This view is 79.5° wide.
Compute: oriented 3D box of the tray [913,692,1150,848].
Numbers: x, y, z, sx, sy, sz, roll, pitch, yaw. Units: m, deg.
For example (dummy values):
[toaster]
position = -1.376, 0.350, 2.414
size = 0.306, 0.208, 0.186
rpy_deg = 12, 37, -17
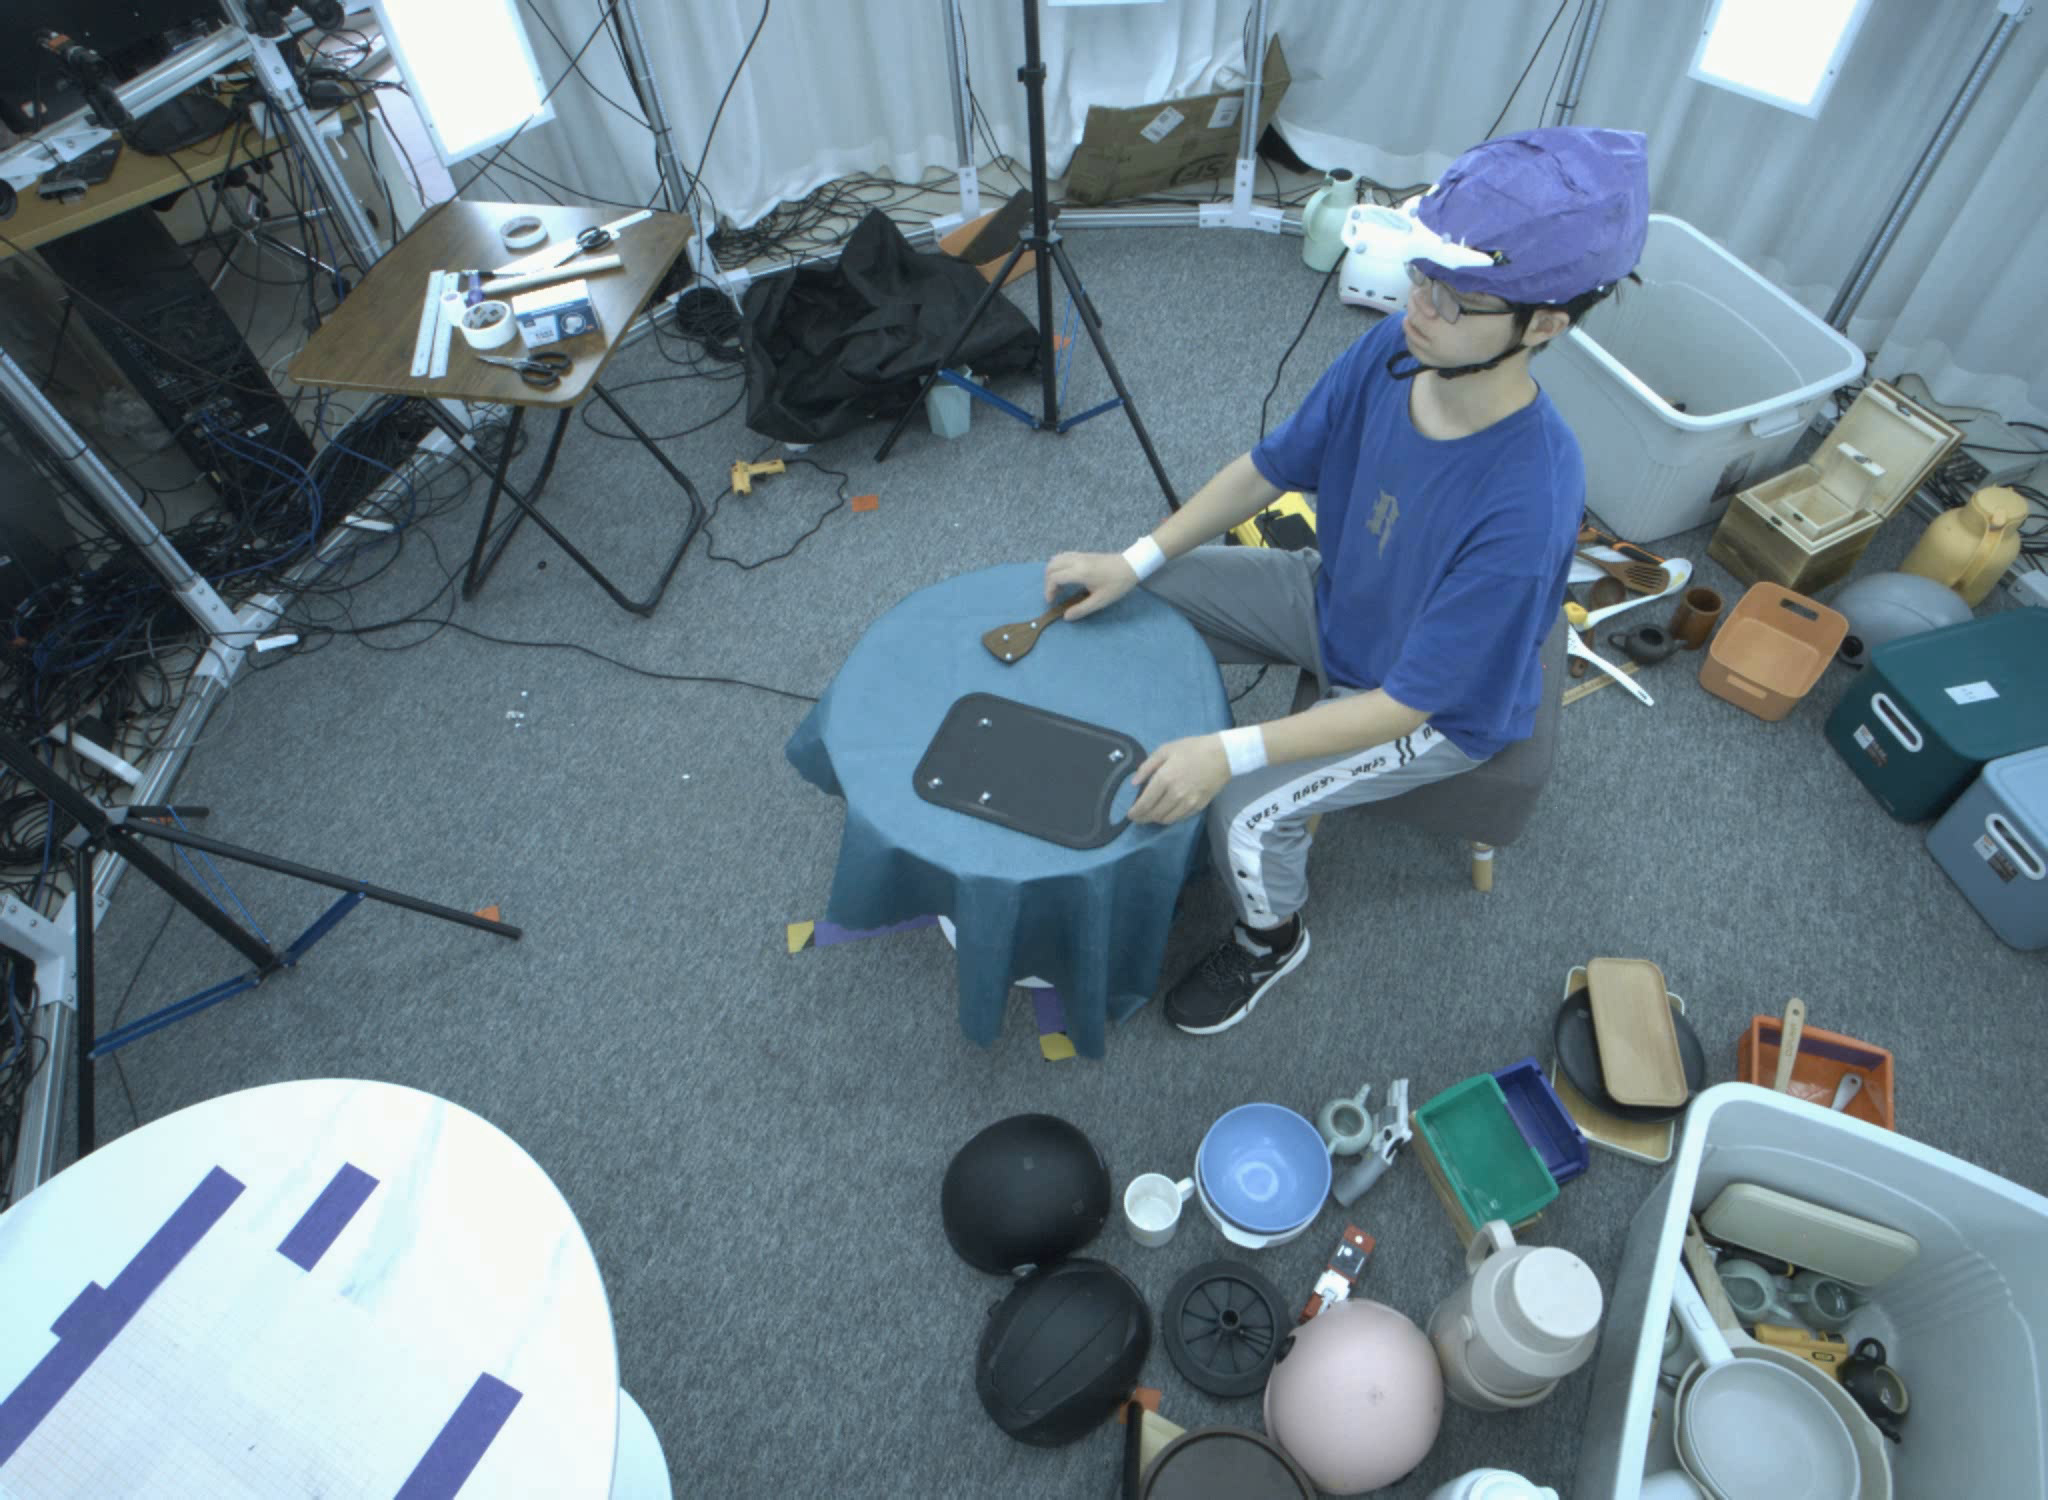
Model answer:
[tray]
position = 0.017, 0.025, 1.752
size = 0.322, 0.010, 0.211
rpy_deg = 17, 57, 15

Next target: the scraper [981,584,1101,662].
[scraper]
position = 0.033, -0.204, 1.918
size = 0.213, 0.011, 0.074
rpy_deg = -33, 60, -21
